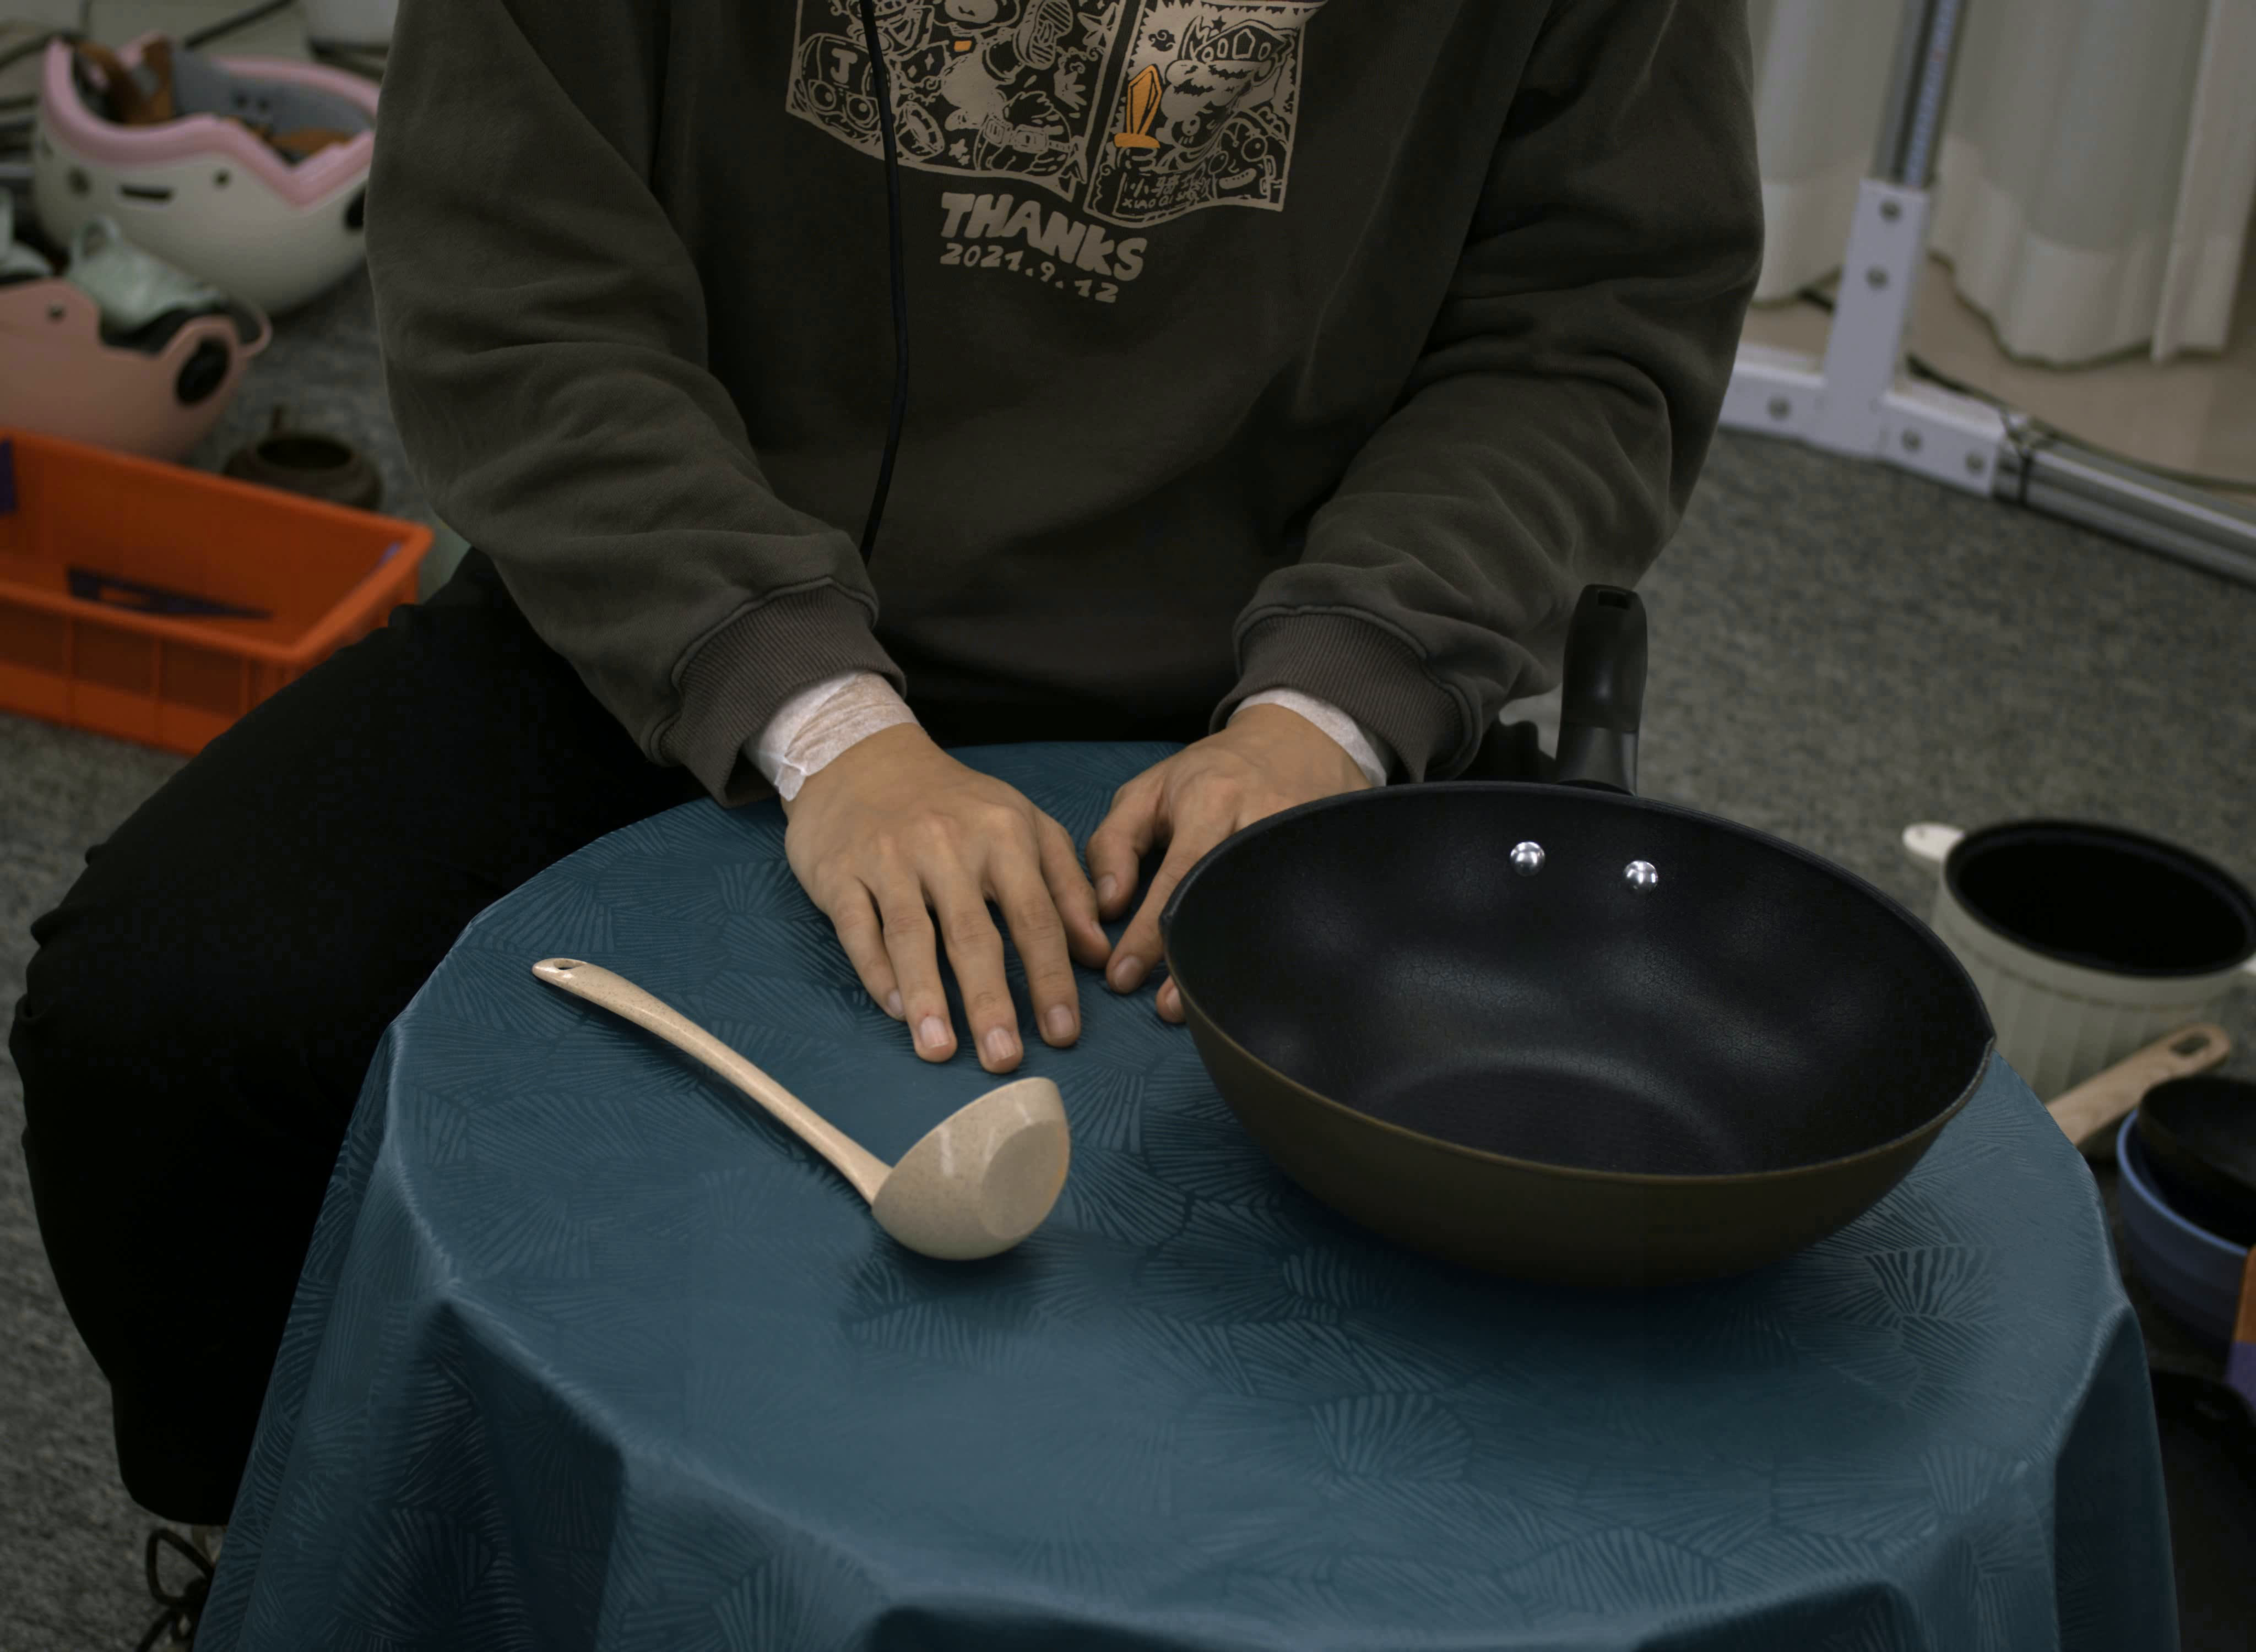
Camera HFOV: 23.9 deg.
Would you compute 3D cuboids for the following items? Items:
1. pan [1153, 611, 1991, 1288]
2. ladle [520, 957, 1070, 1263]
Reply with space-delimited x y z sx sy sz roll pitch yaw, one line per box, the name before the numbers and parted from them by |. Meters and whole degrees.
pan | 0.158 0.044 1.907 0.288 0.086 0.465 8 26 4
ladle | -0.121 0.069 1.803 0.072 0.072 0.256 -21 38 -40
